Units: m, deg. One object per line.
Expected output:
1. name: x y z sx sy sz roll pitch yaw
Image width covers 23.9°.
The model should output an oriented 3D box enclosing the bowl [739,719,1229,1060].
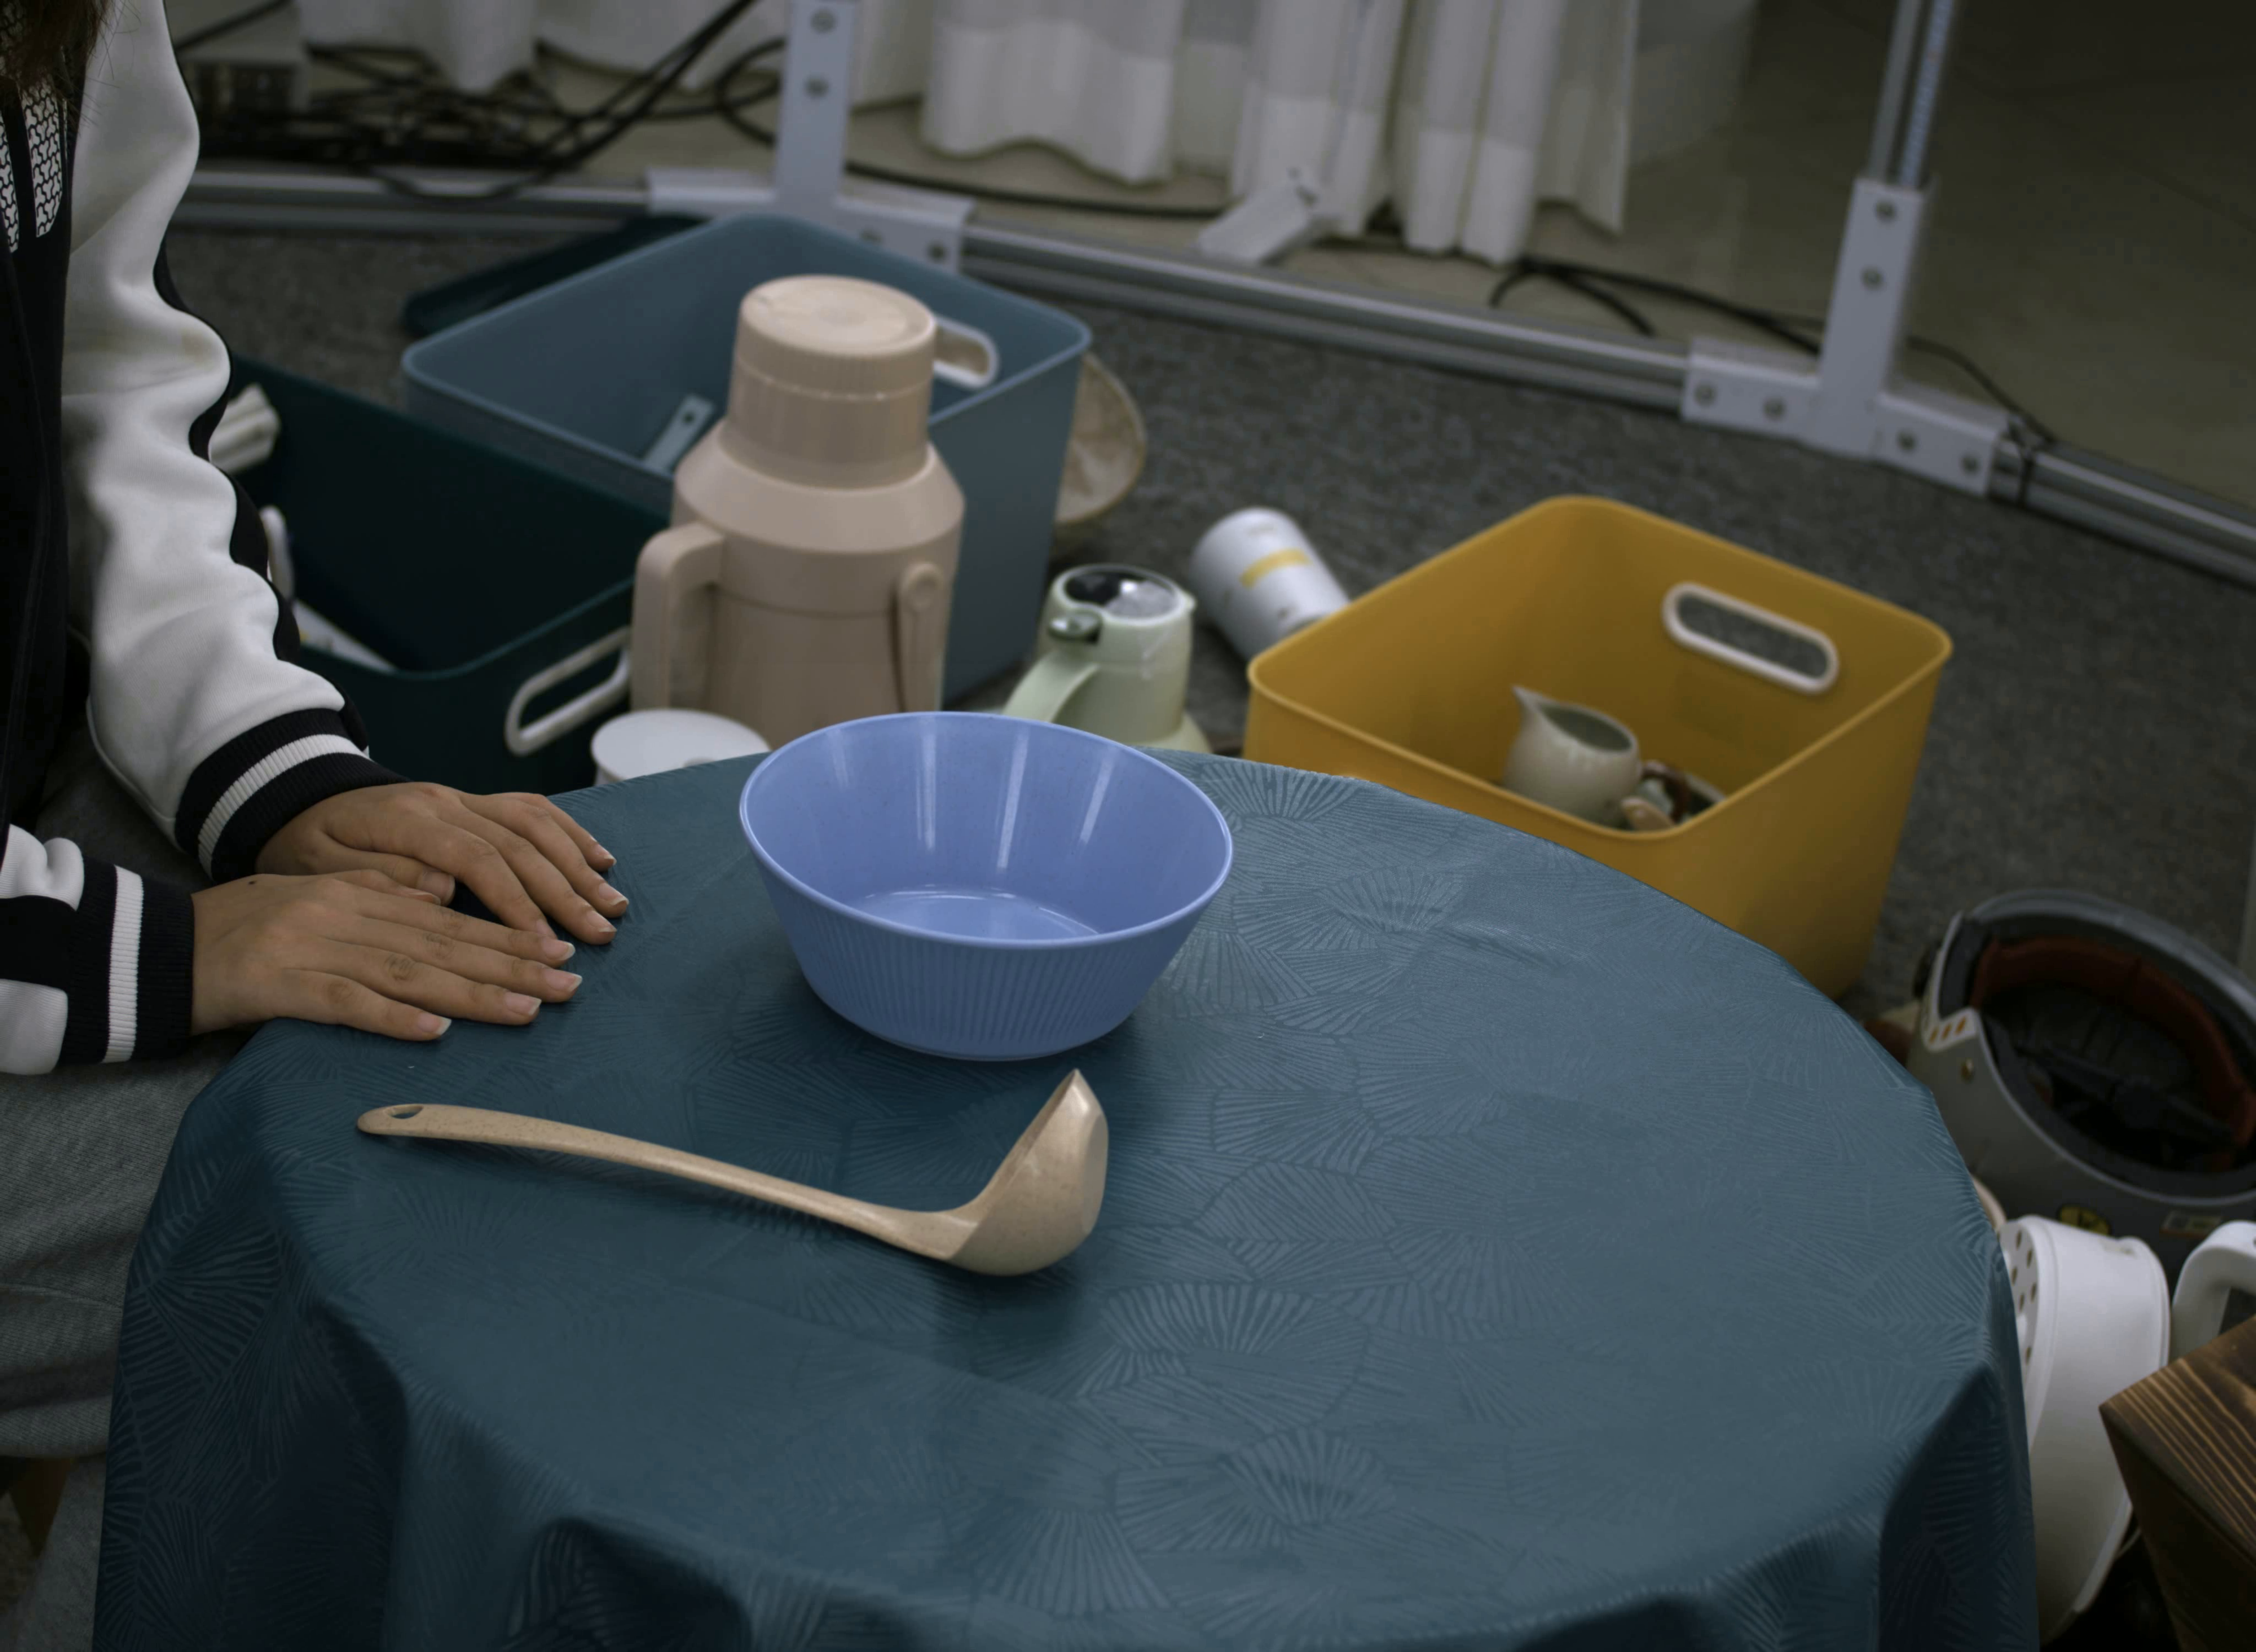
1. bowl: -0.054 0.028 1.900 0.175 0.070 0.177 6 26 -3

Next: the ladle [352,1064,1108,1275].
1. ladle: -0.132 0.094 1.751 0.254 0.072 0.072 10 27 7
